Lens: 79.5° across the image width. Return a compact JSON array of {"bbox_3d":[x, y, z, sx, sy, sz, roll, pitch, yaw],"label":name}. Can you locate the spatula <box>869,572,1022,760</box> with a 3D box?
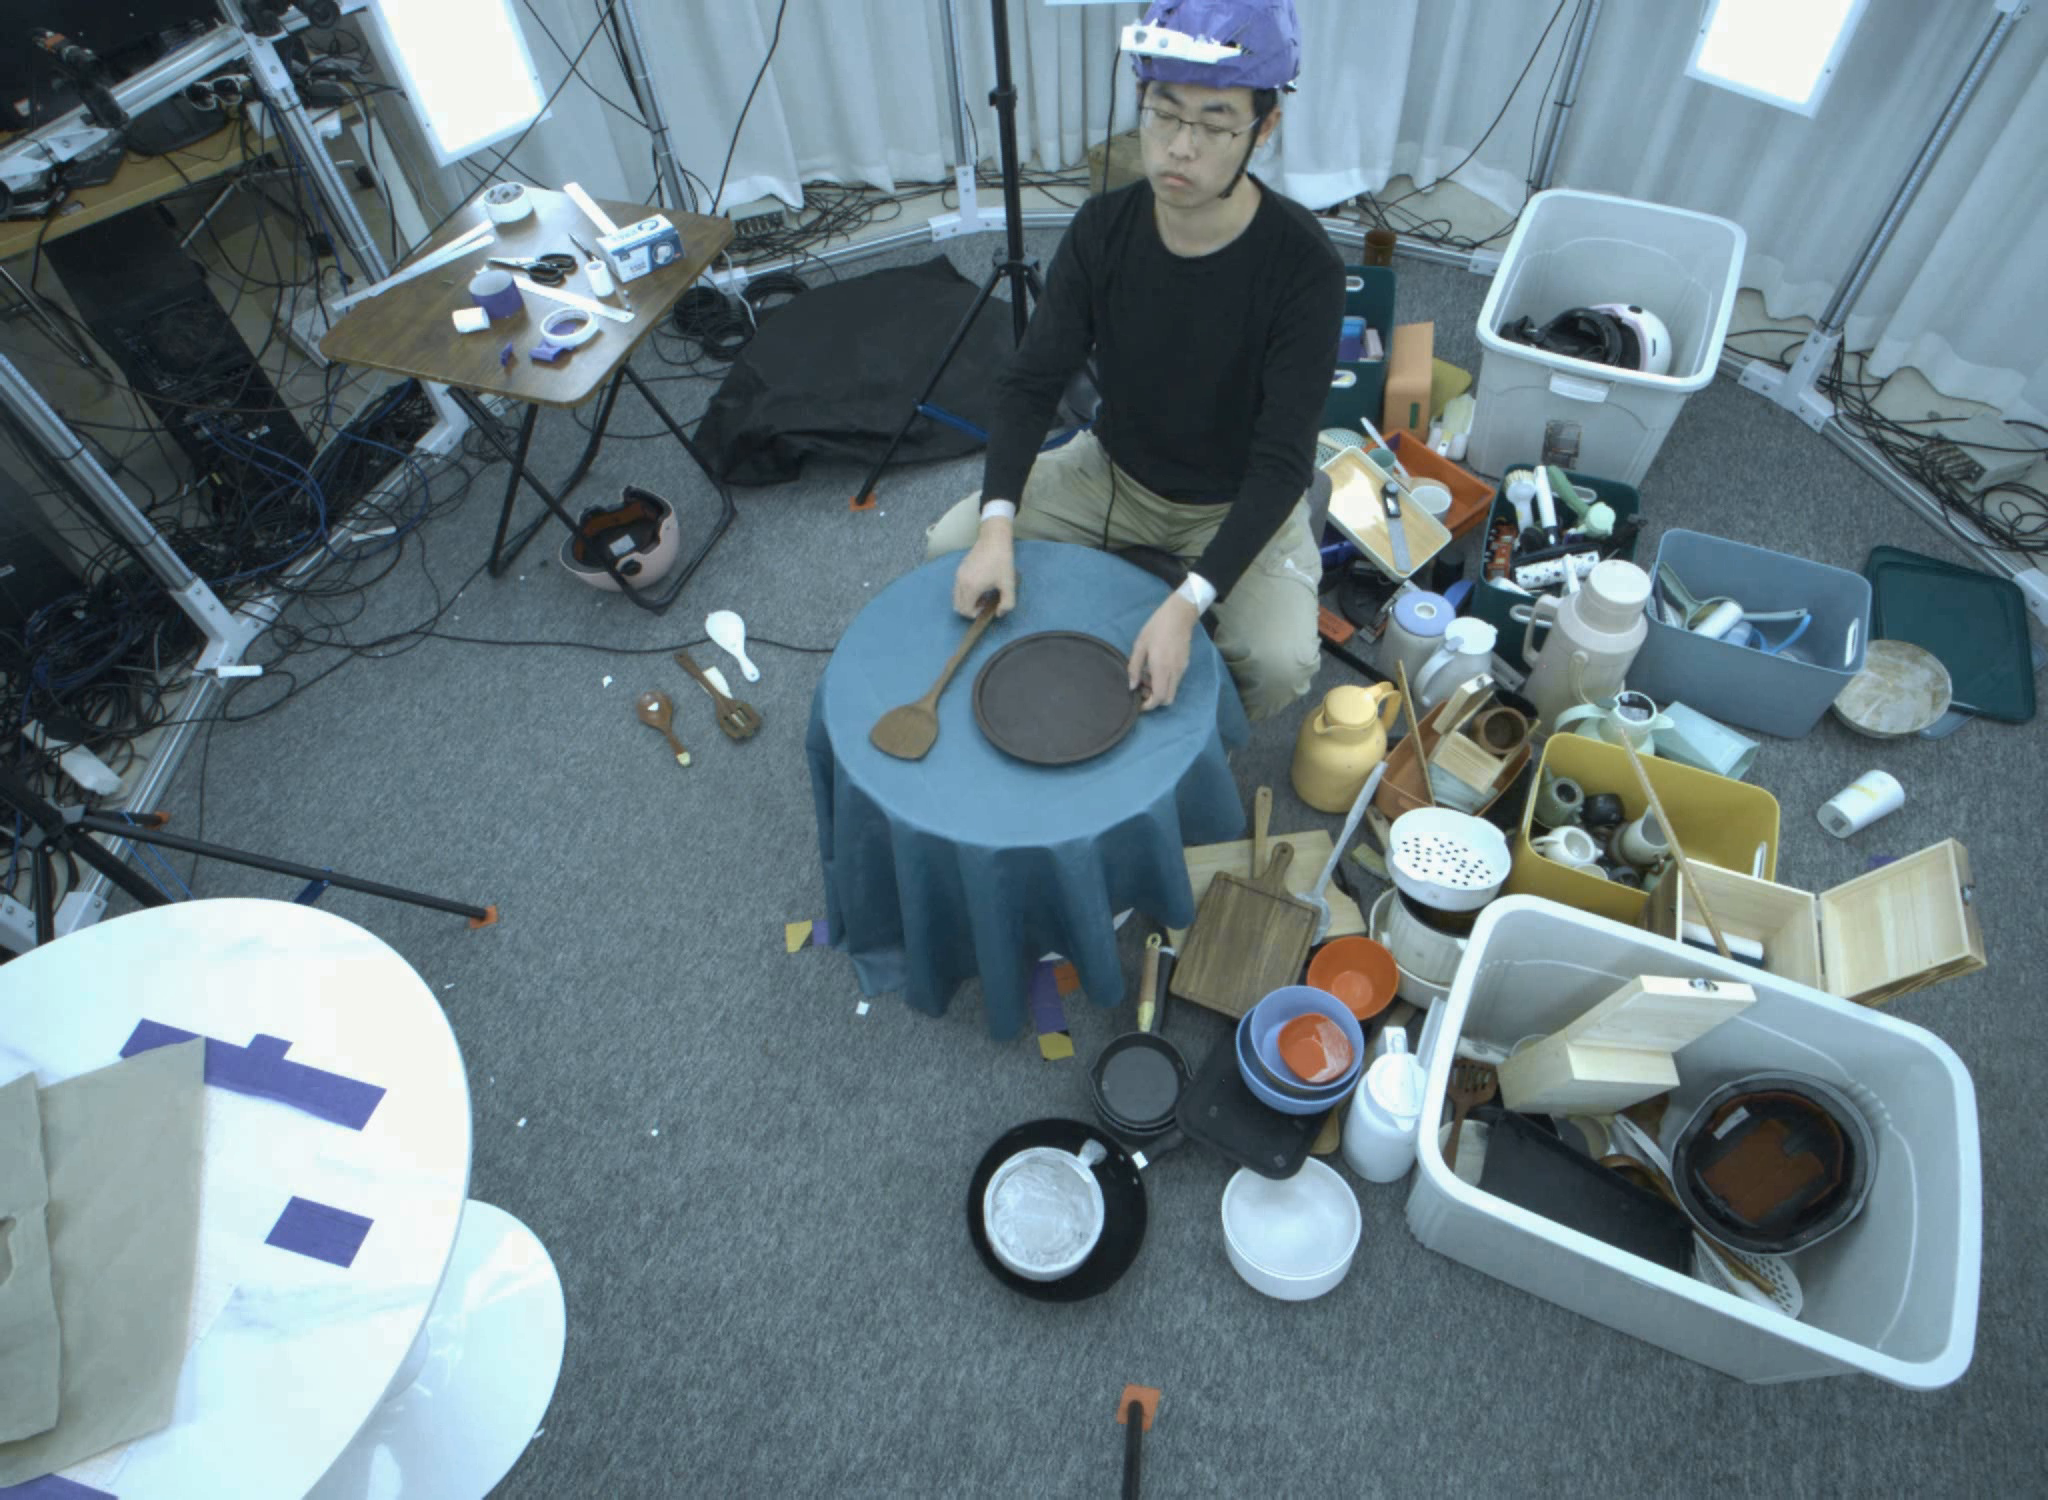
[{"bbox_3d":[-0.104,-0.139,1.871,0.095,0.016,0.386,24,63,17],"label":"spatula"}]

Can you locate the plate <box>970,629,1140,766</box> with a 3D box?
[{"bbox_3d":[0.046,-0.079,1.828,0.254,0.029,0.252,-1,54,3],"label":"plate"}]
